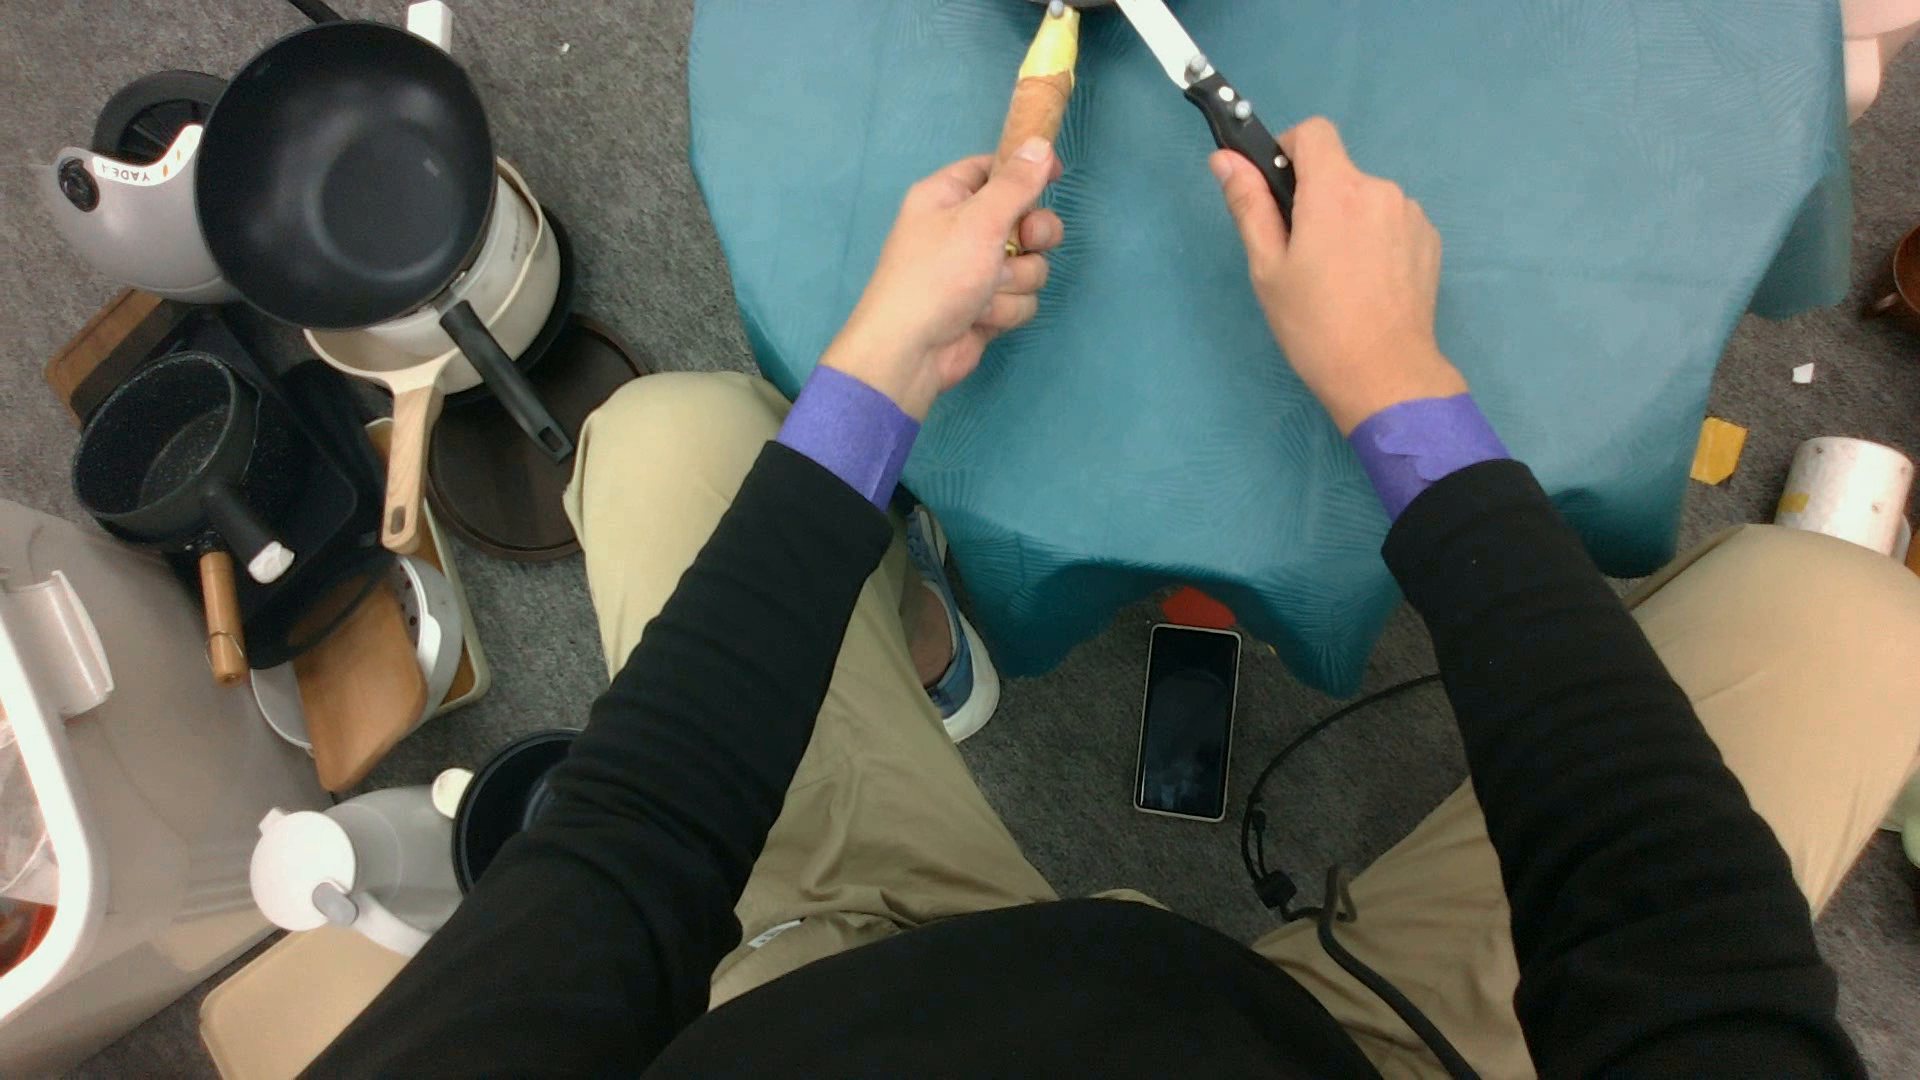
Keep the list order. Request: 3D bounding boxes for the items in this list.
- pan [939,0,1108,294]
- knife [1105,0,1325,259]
[{"bbox_3d":[0.040,-0.272,0.712,0.169,0.049,0.325,13,78,13],"label":"pan"},{"bbox_3d":[0.103,-0.235,0.671,0.024,0.016,0.238,-33,84,-23],"label":"knife"}]
